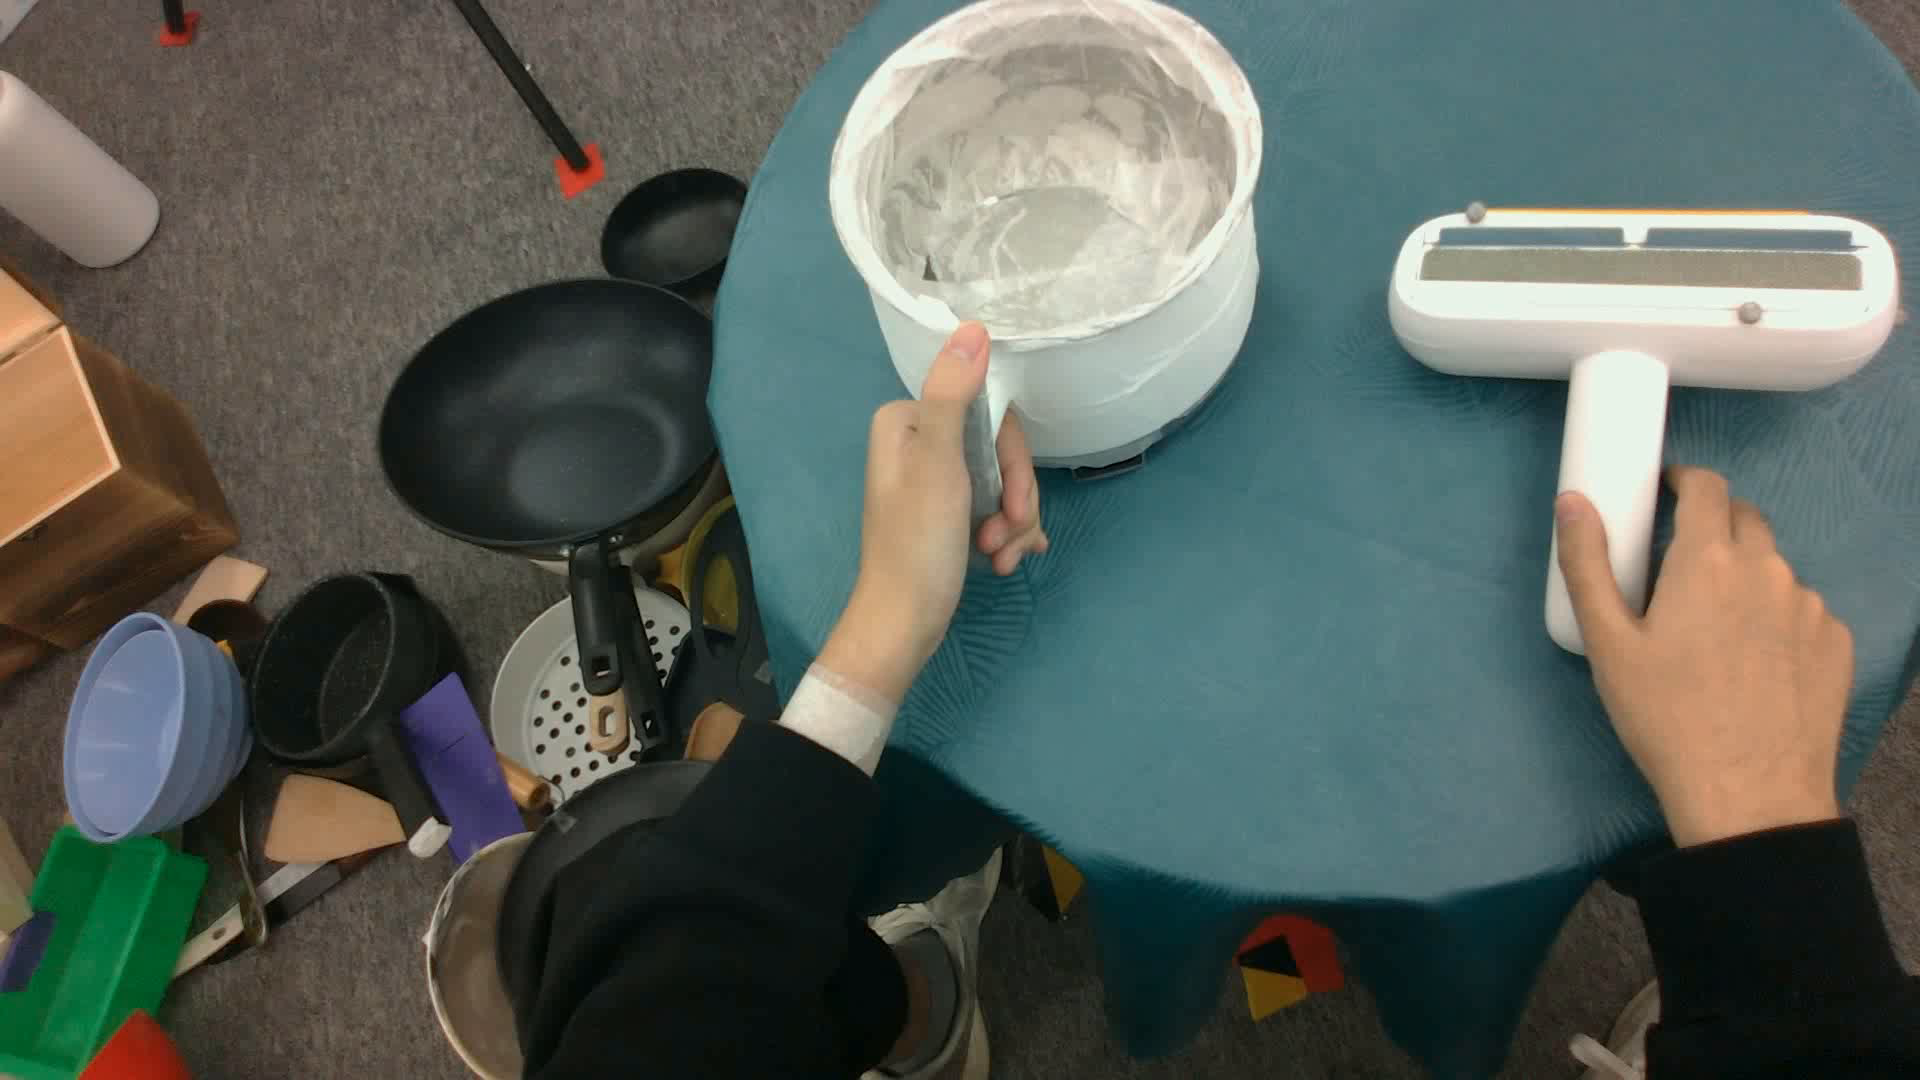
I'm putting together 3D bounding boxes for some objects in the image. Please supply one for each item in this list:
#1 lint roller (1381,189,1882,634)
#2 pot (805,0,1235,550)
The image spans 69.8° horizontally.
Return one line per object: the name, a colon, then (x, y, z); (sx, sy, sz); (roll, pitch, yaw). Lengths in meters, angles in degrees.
lint roller: (0.266, -0.056, 0.581); (0.192, 0.074, 0.193); (11, 72, 20)
pot: (0.026, -0.117, 0.610); (0.178, 0.136, 0.234); (12, 69, 17)
